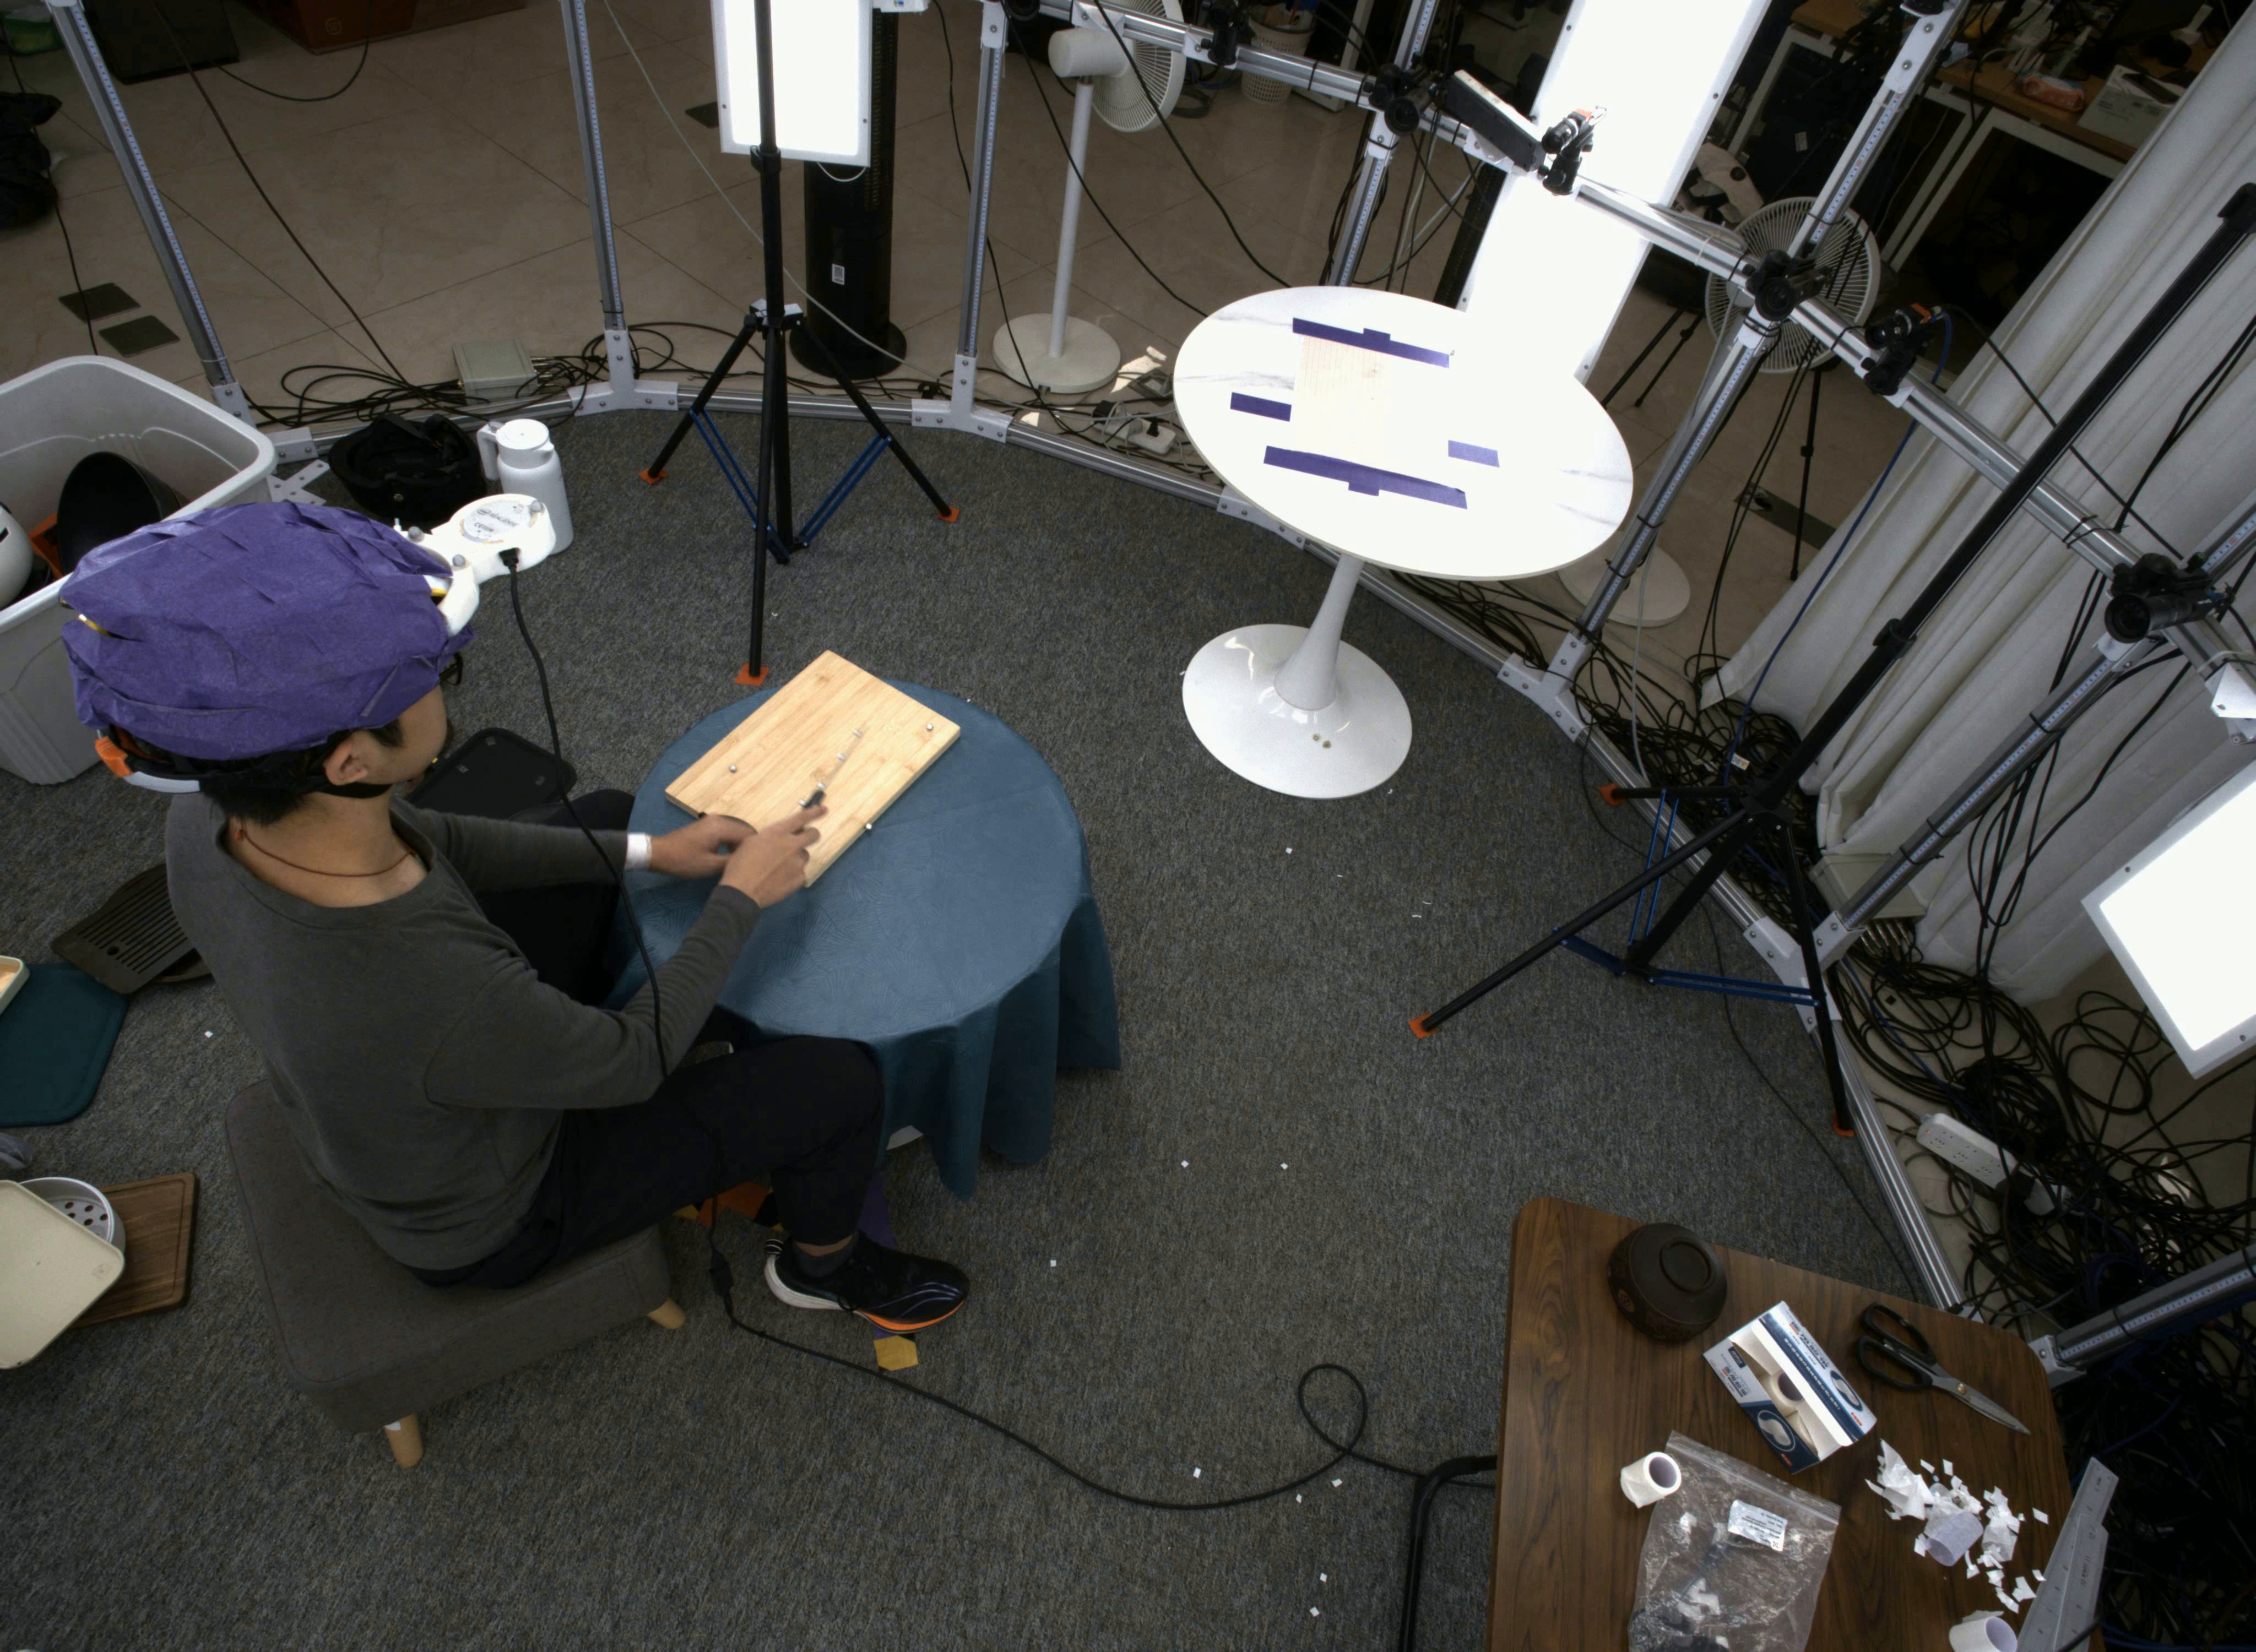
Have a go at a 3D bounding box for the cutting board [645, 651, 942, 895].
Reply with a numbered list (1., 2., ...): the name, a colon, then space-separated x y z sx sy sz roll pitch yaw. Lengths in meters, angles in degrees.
1. cutting board: -0.451 -0.083 1.780 0.246 0.024 0.347 29 53 9

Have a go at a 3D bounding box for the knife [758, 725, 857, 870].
1. knife: -0.397 -0.042 1.627 0.017 0.024 0.236 41 55 -22
